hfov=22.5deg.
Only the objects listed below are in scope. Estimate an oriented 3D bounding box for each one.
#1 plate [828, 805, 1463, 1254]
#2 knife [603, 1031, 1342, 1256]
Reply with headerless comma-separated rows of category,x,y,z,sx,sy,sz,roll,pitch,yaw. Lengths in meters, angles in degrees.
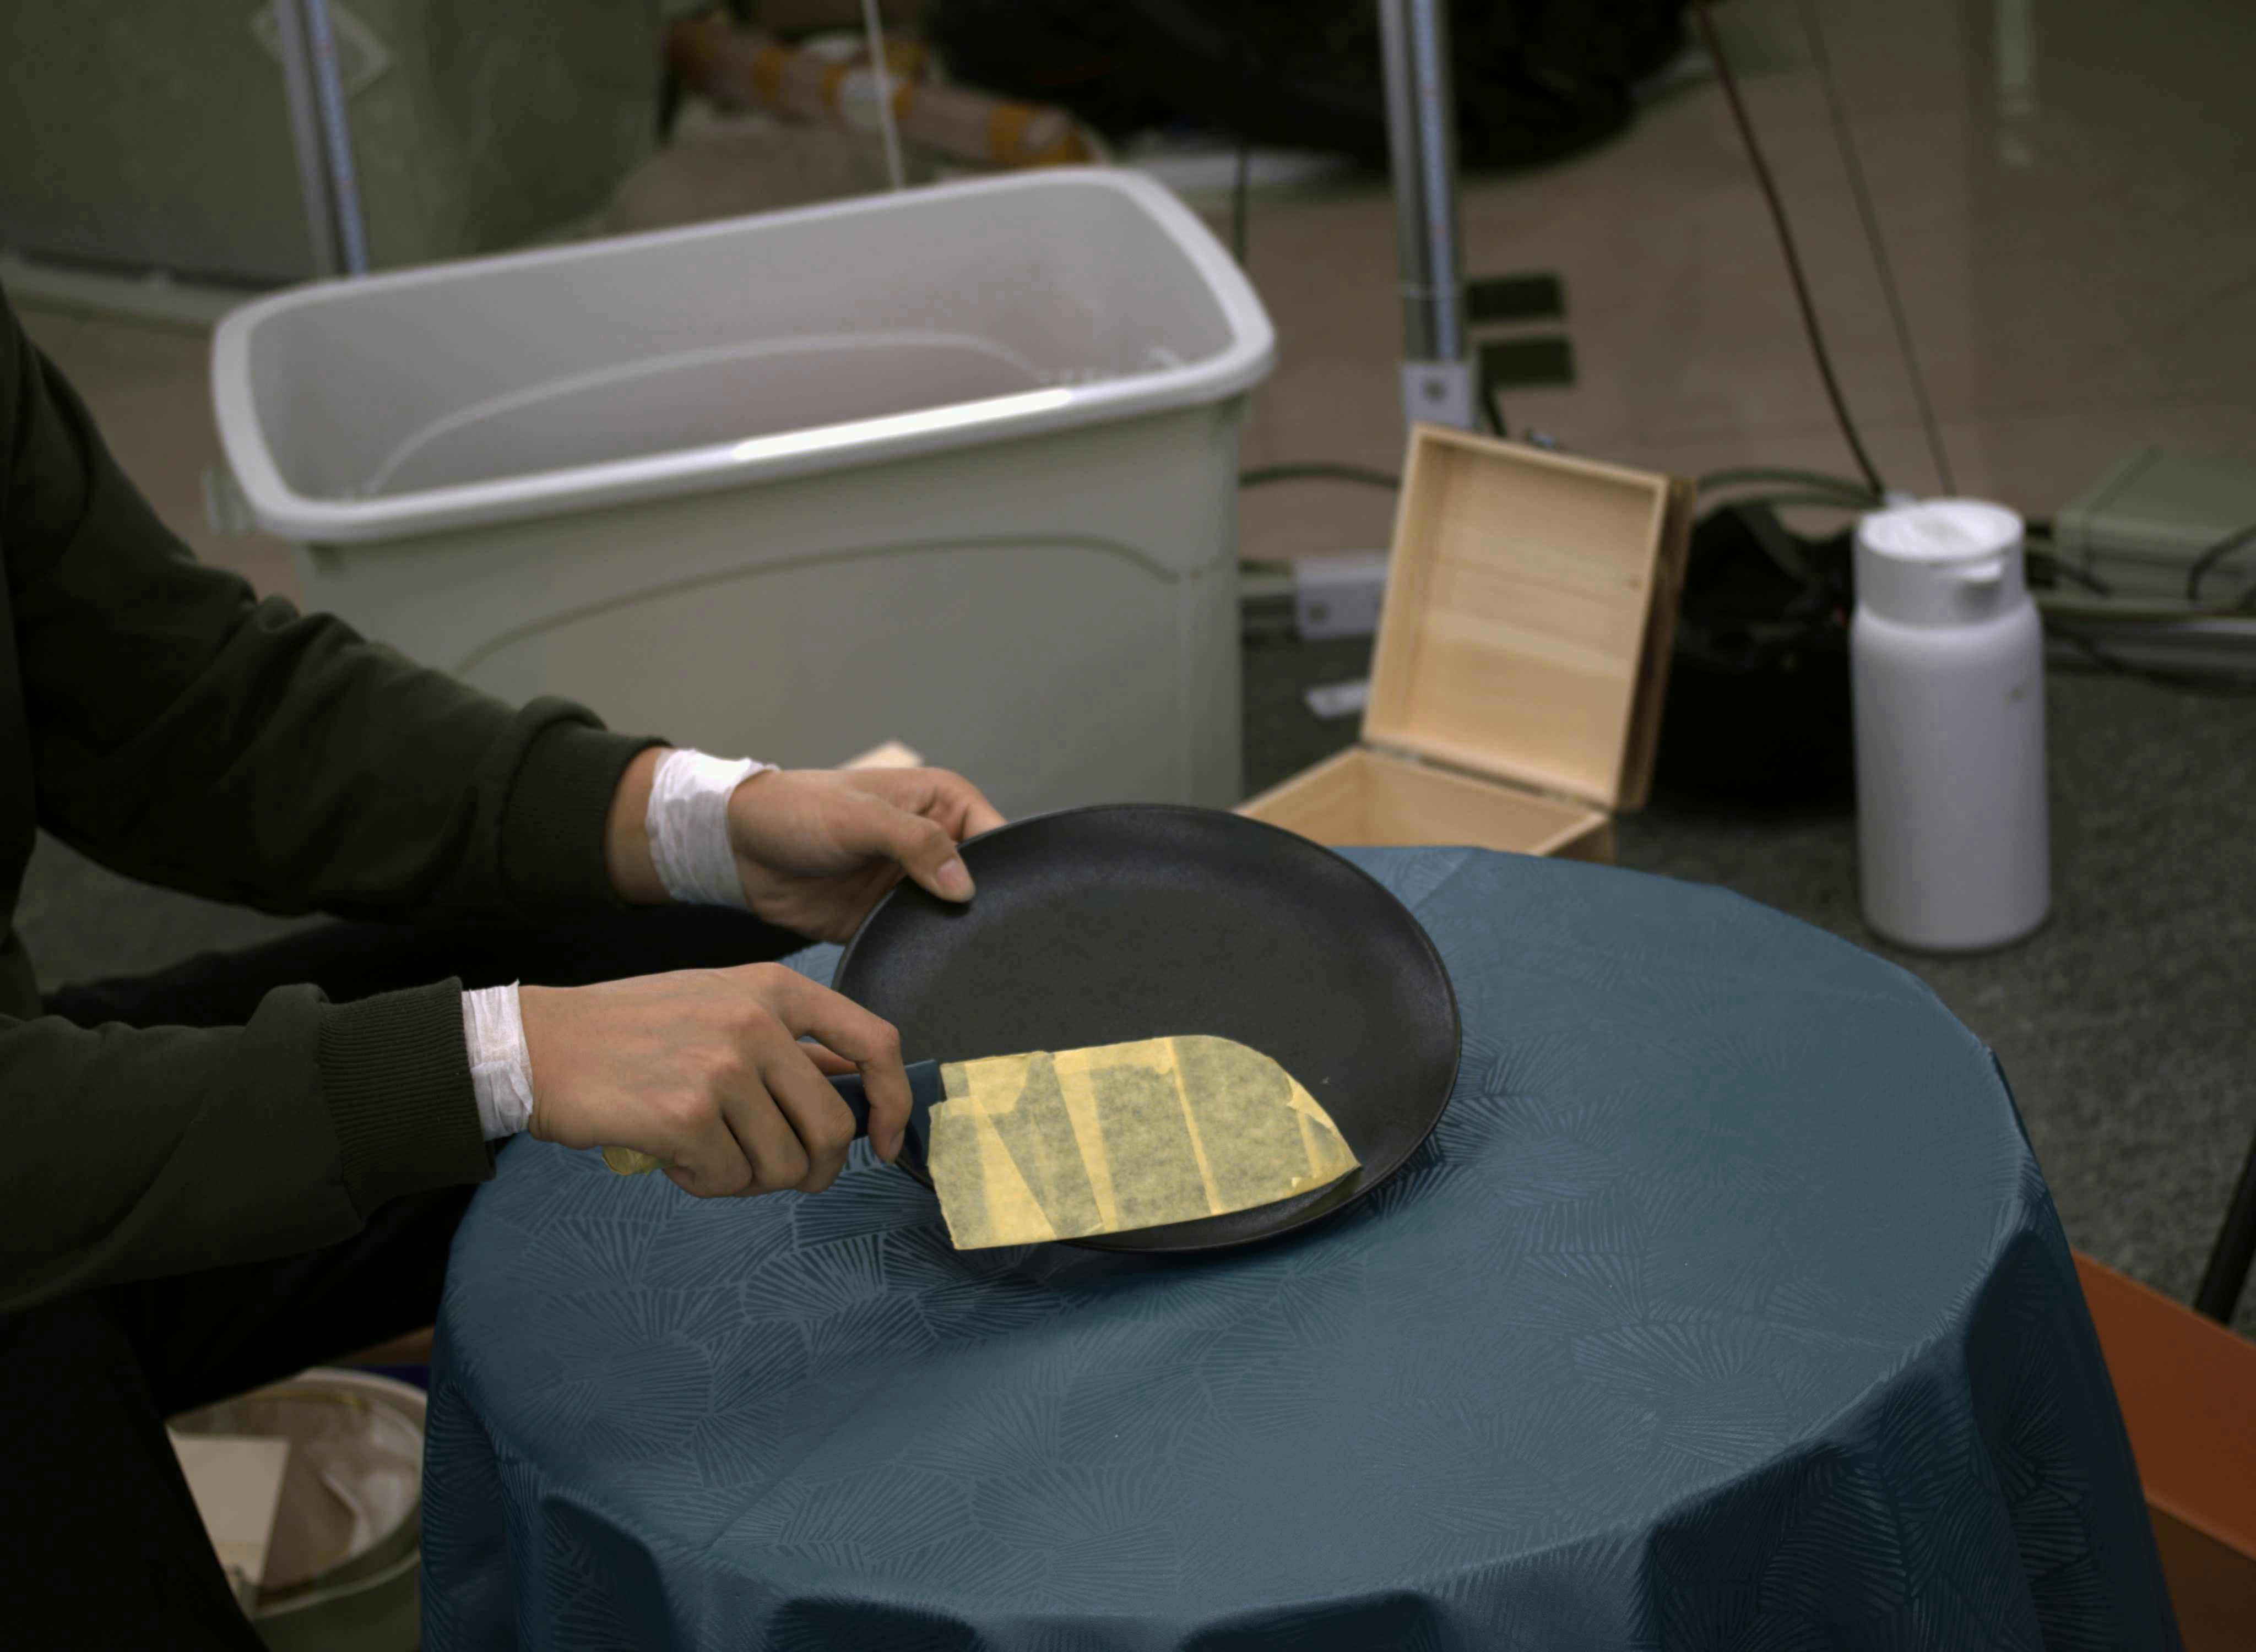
plate,0.007,0.081,2.175,0.244,0.024,0.240,2,44,-2
knife,-0.051,0.118,2.070,0.289,0.027,0.080,-4,66,-24
